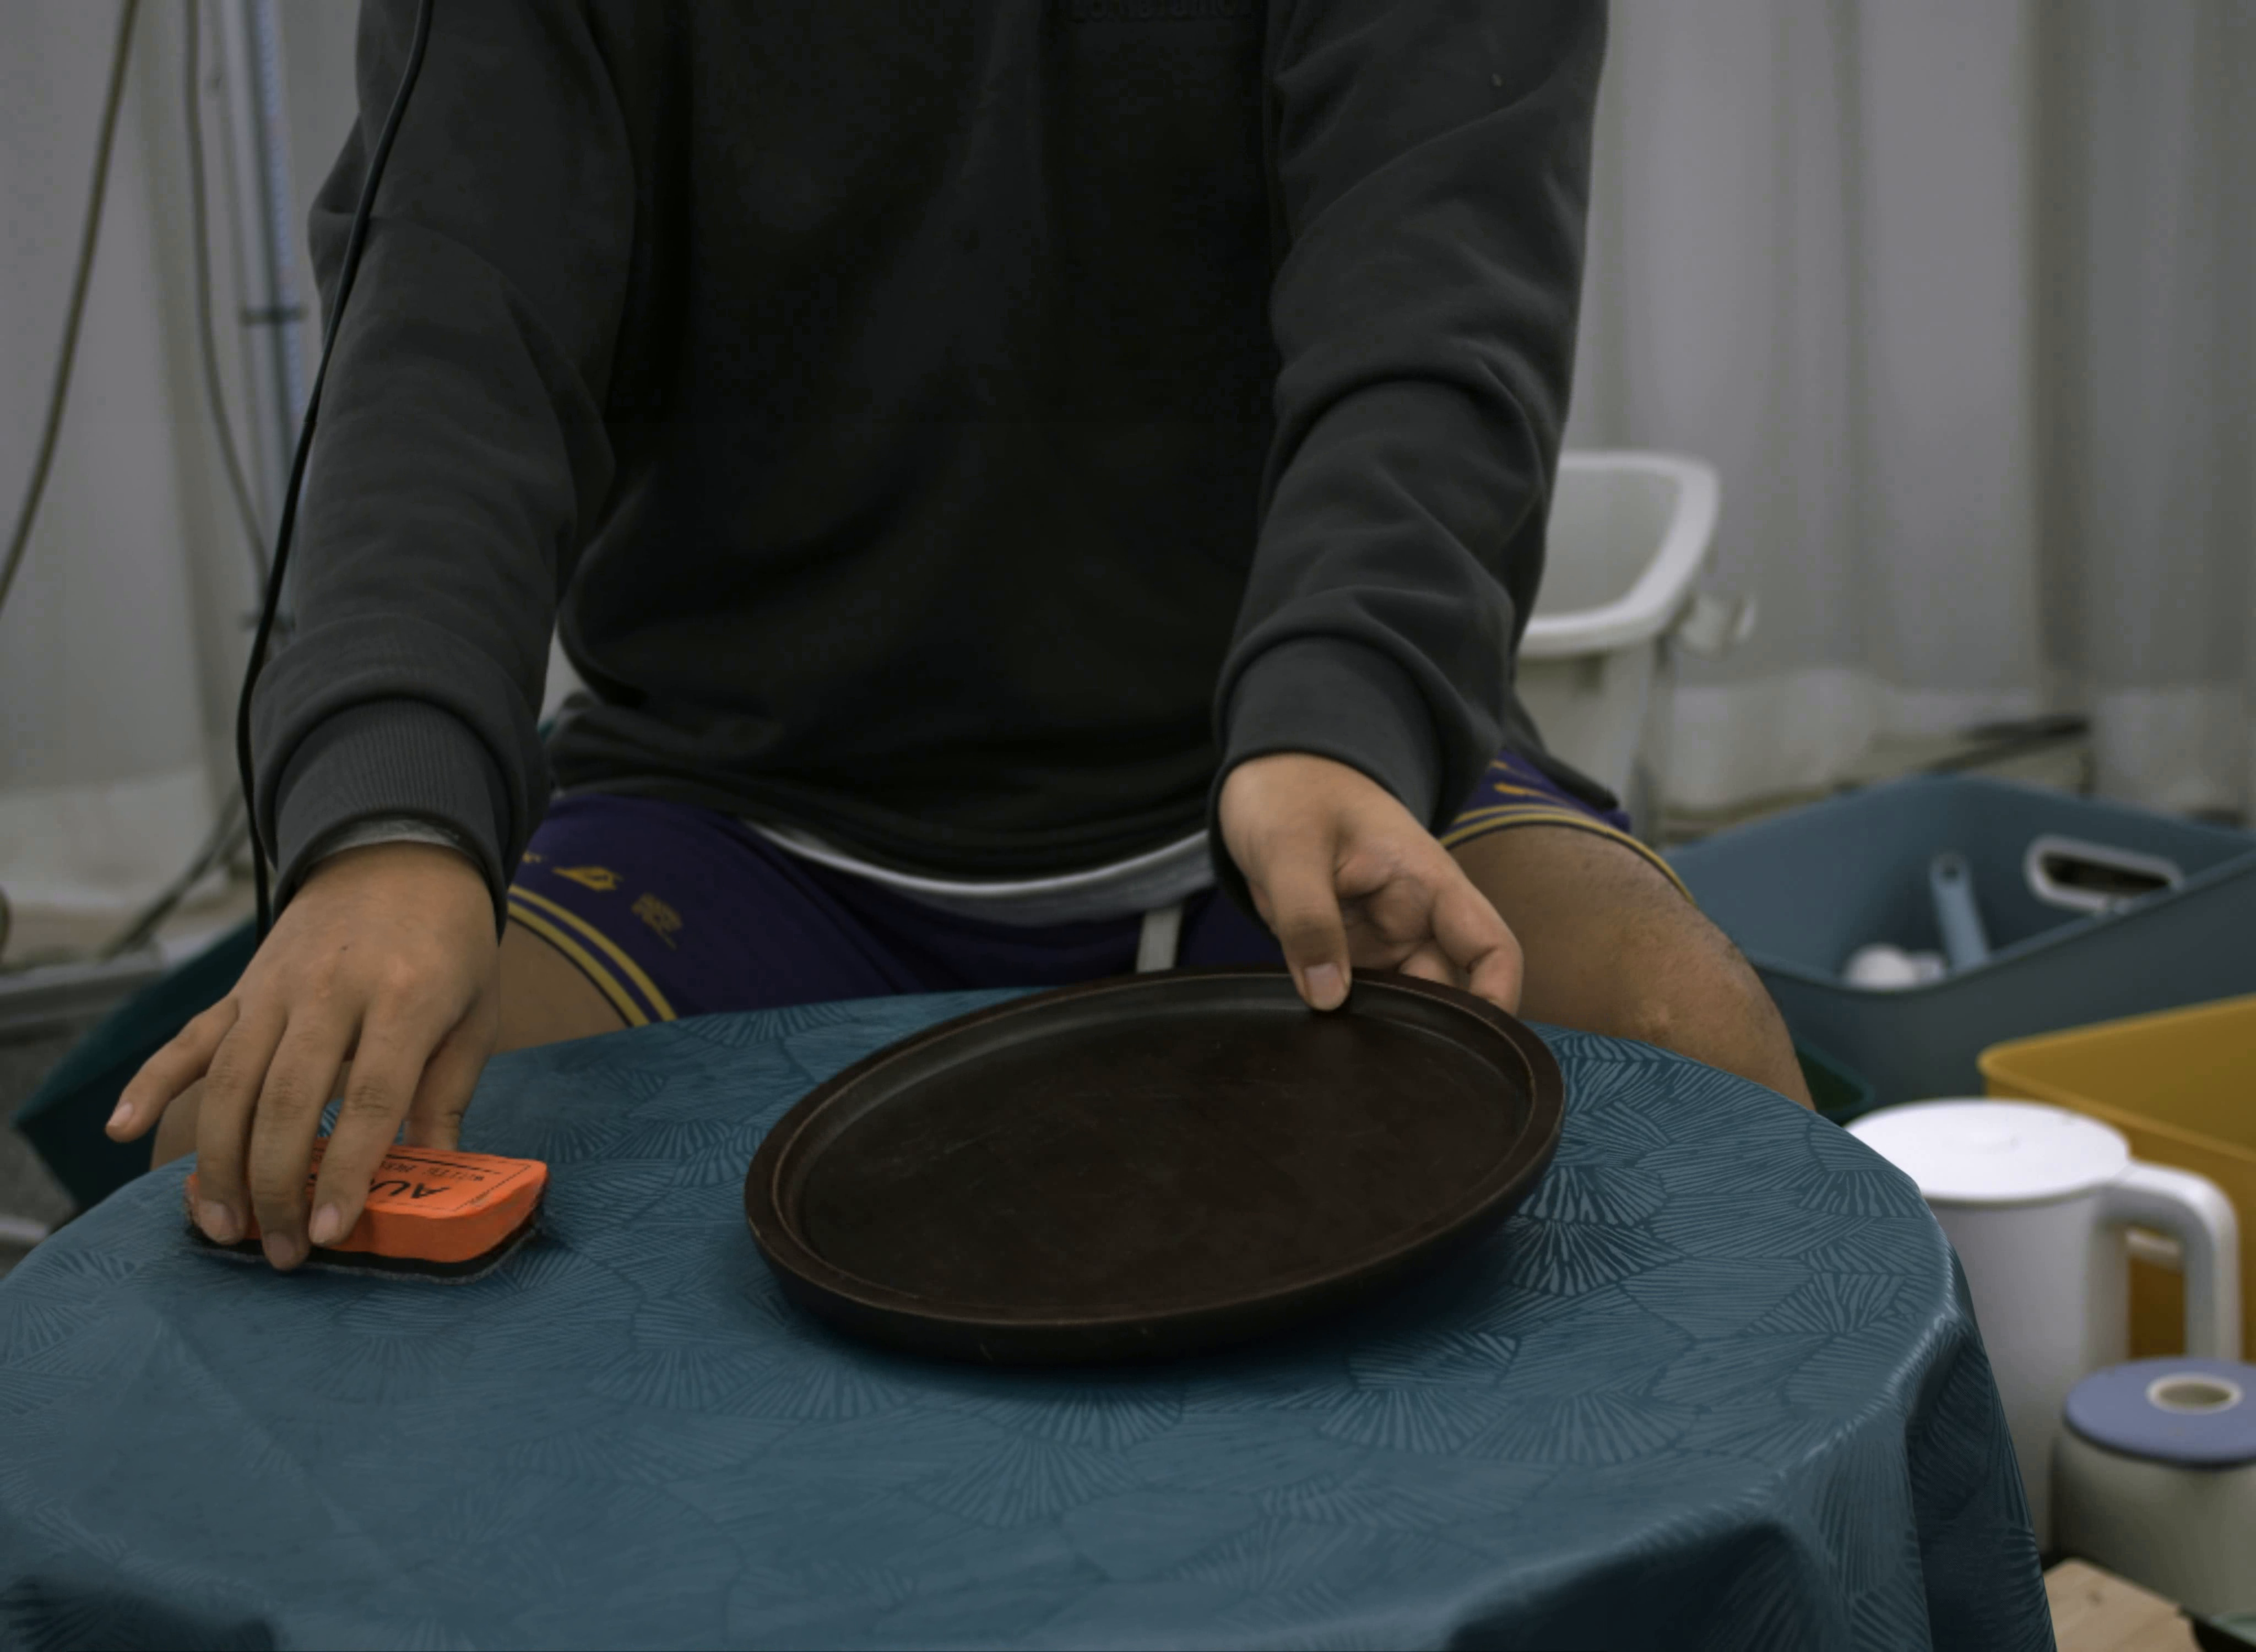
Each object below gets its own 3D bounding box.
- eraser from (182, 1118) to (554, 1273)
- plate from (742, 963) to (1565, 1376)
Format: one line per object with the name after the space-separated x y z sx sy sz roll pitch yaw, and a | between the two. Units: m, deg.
-0.236 0.115 1.702 0.108 0.023 0.059 4 19 26 | eraser
0.009 0.102 1.660 0.254 0.029 0.257 -10 20 3 | plate
